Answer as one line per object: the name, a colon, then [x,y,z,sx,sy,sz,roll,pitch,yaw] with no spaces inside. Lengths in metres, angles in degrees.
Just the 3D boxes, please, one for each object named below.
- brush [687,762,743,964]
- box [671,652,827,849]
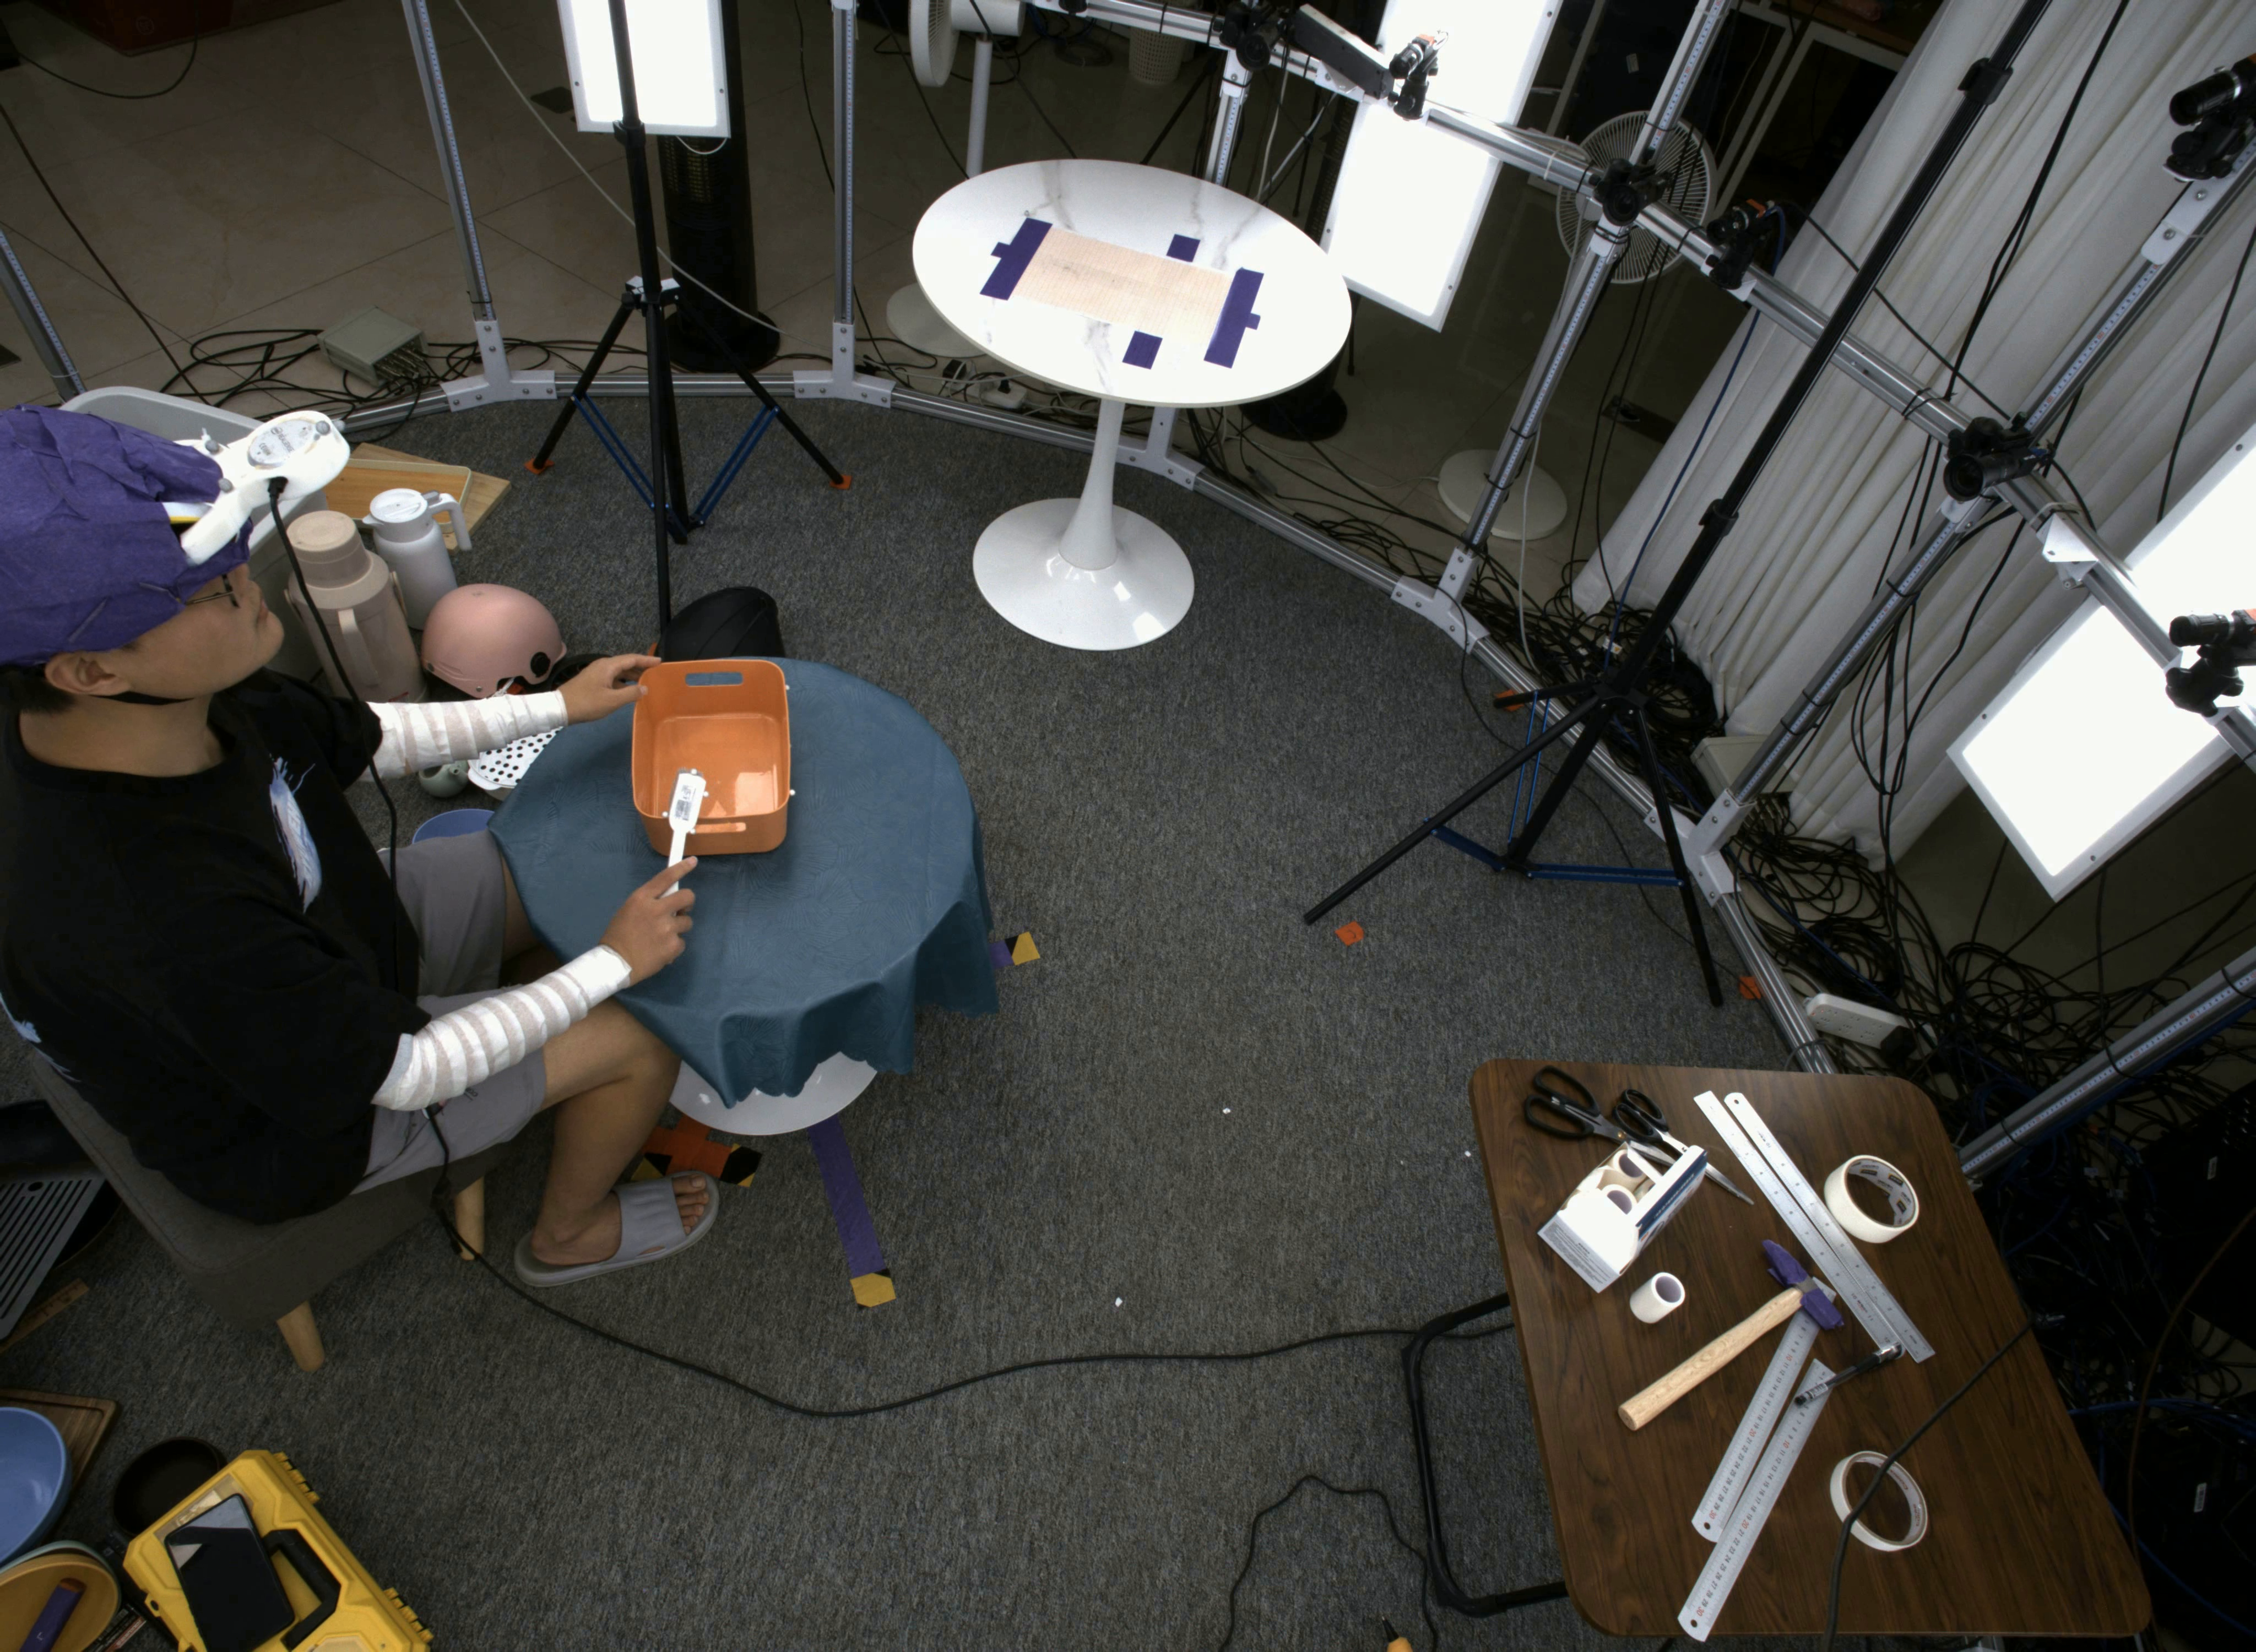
brush: [-0.506,0.042,1.566,0.035,0.049,0.245,11,82,-27]
box: [-0.500,-0.097,1.718,0.200,0.104,0.267,-1,54,-15]
